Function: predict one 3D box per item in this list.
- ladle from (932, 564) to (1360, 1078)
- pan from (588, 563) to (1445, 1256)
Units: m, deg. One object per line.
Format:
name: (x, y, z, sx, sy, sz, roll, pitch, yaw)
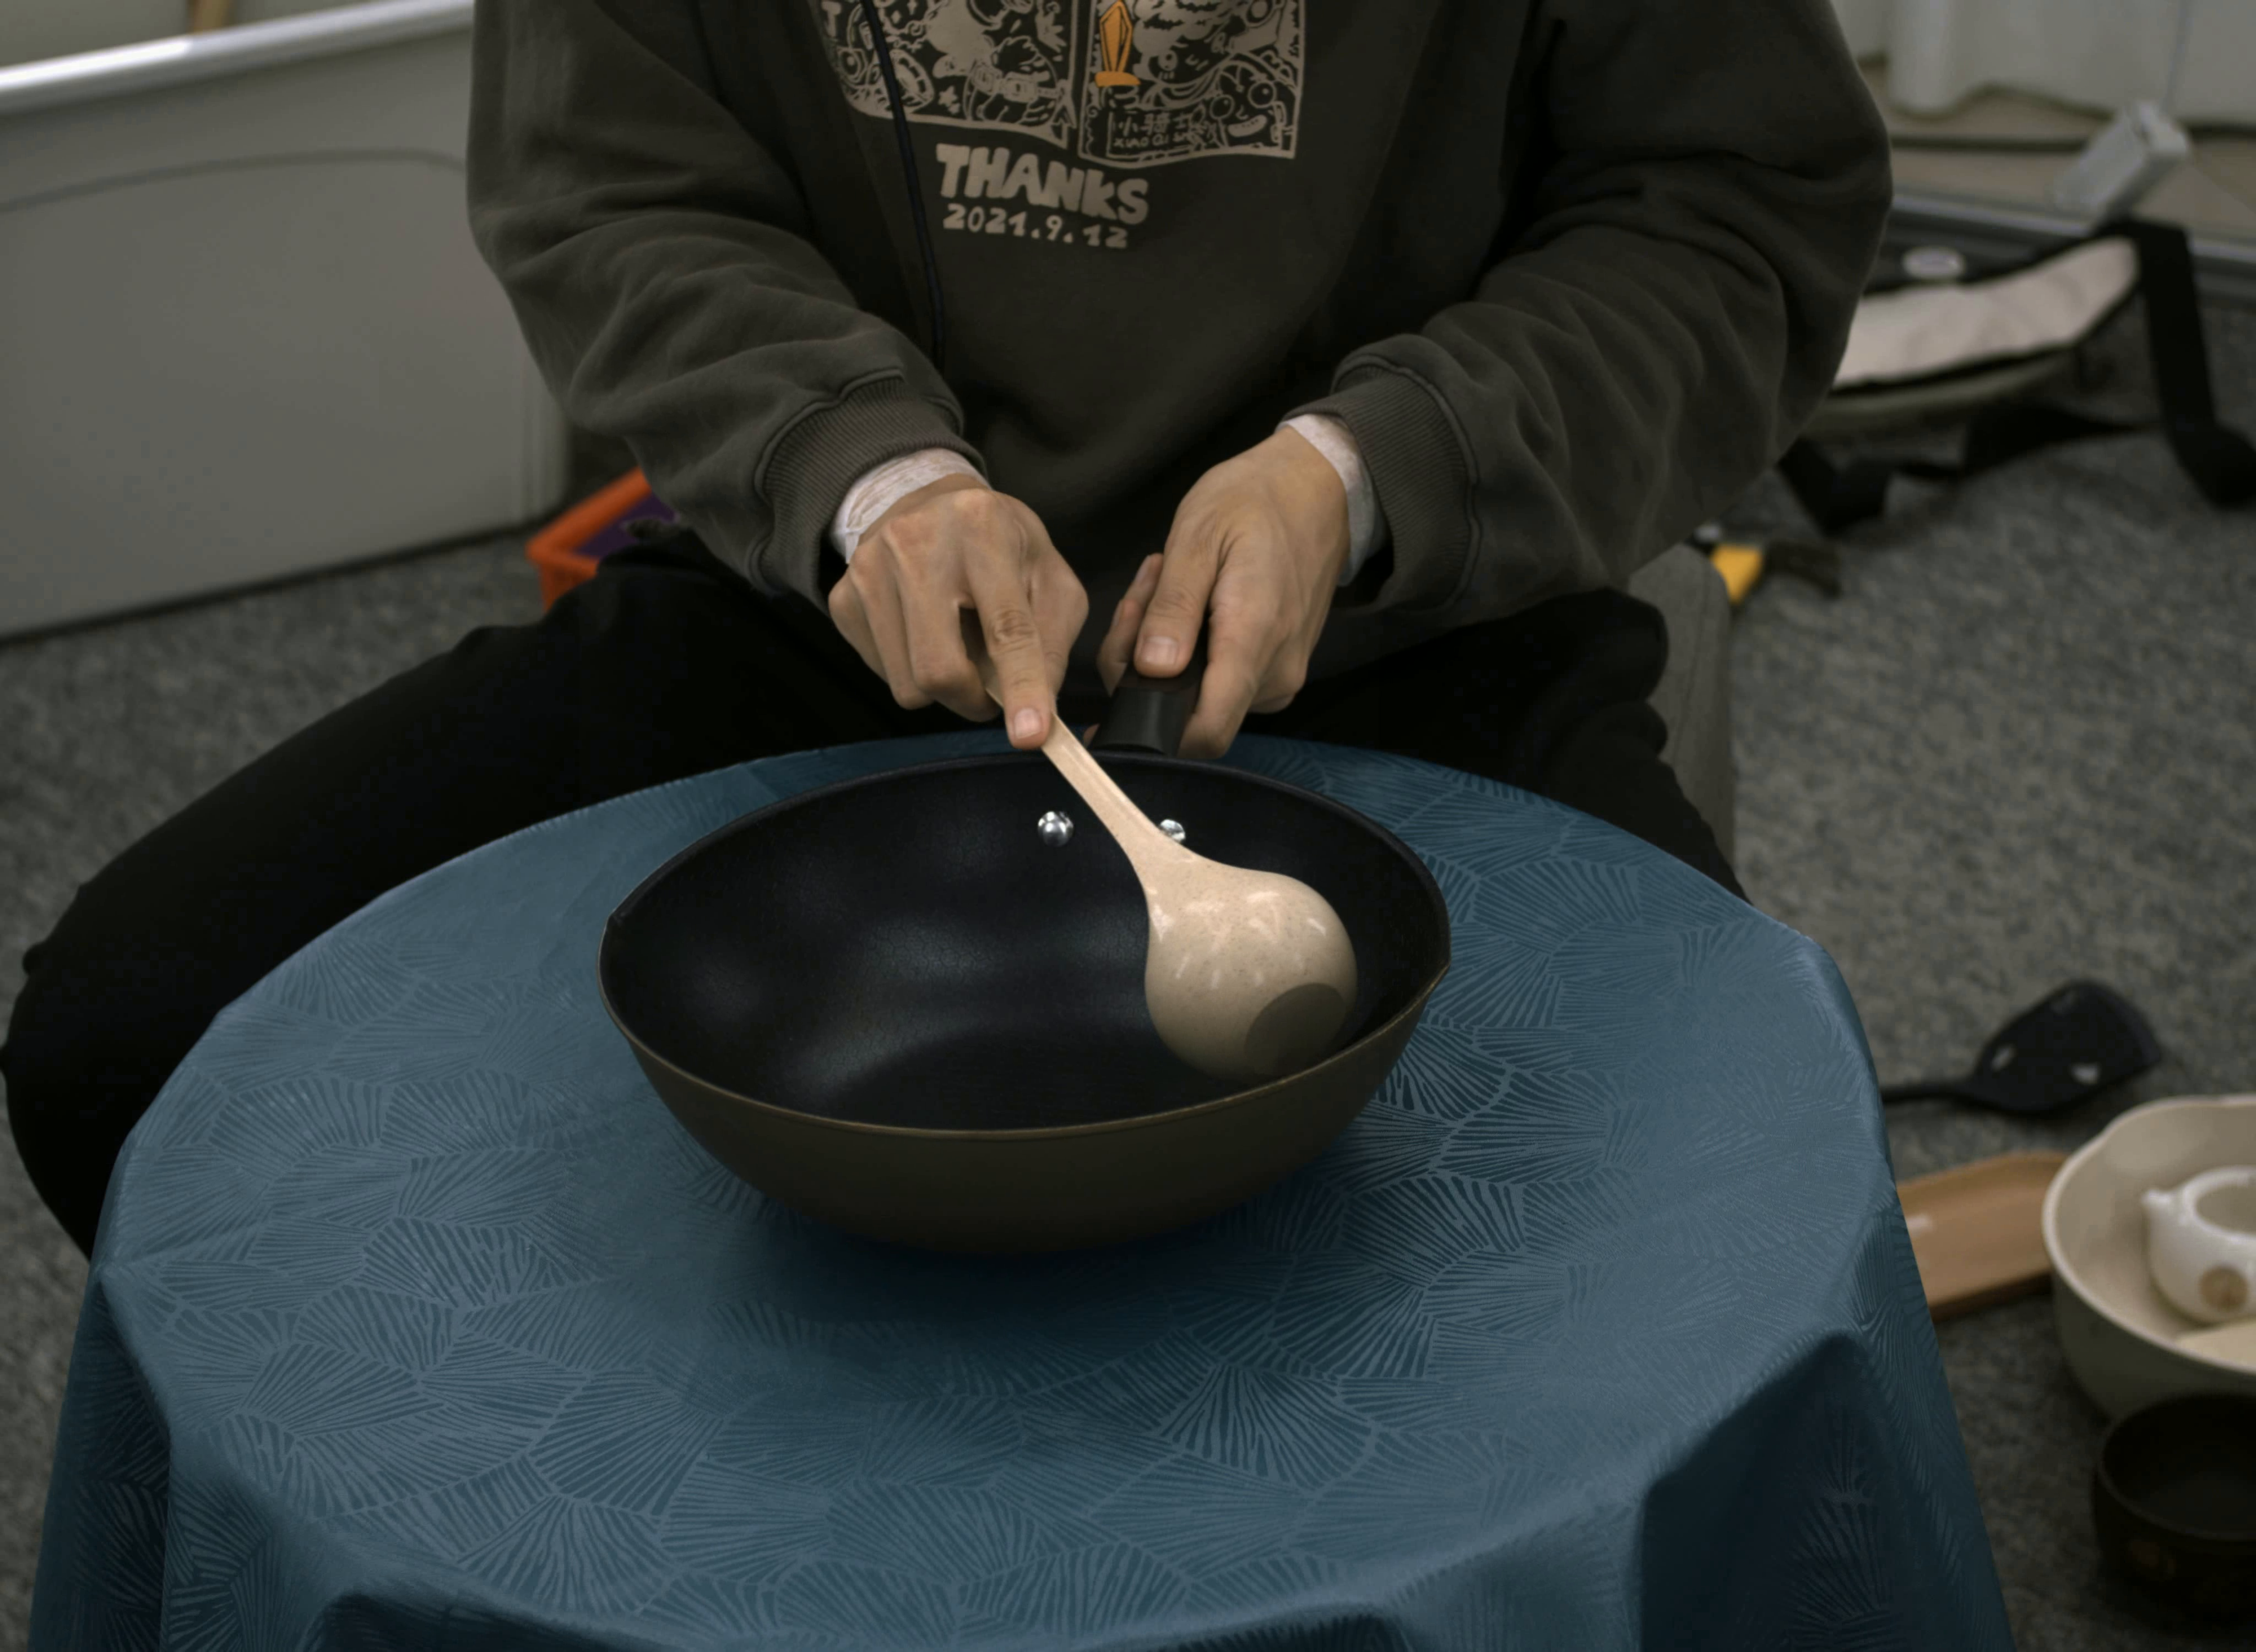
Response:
ladle: (0.001, -0.002, 1.957, 0.072, 0.072, 0.257, -37, 43, 0)
pan: (-0.015, 0.030, 1.951, 0.286, 0.086, 0.471, 3, 25, 13)
